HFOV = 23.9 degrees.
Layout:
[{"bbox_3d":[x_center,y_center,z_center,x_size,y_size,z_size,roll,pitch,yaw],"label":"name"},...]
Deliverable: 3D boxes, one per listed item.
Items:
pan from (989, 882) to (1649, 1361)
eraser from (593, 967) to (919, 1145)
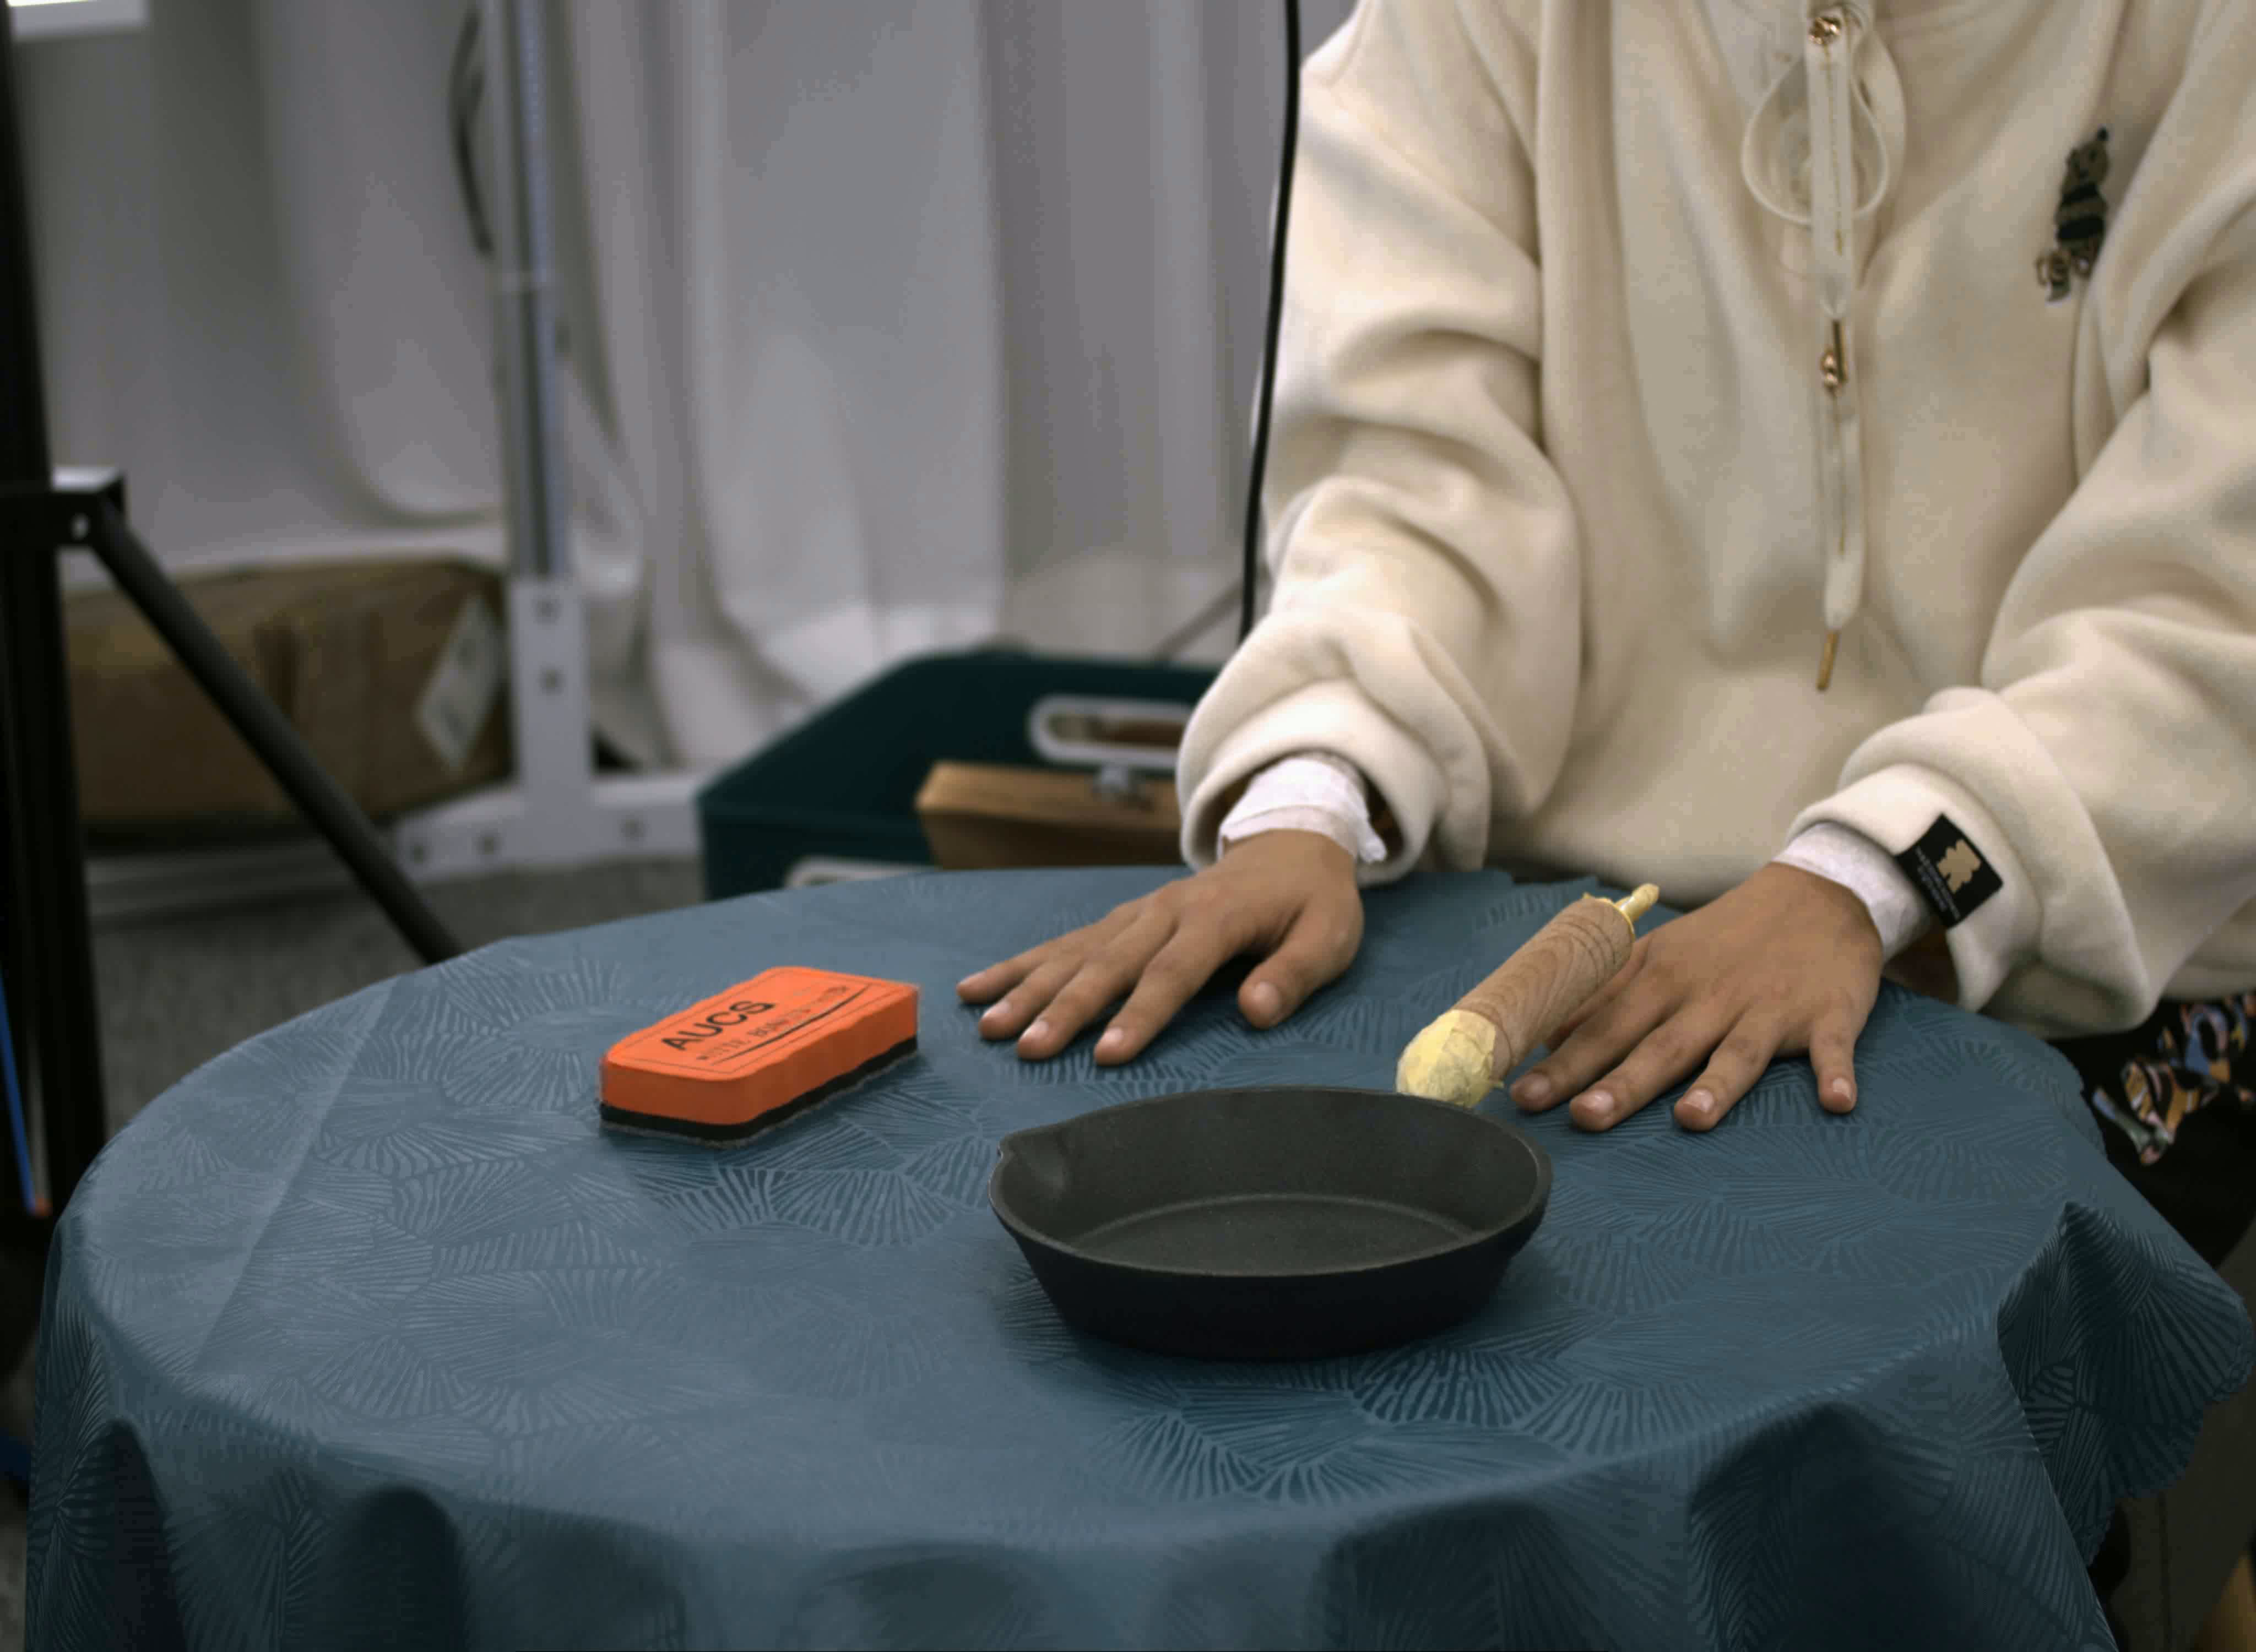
[{"bbox_3d":[0.082,0.082,1.541,0.172,0.049,0.318,6,19,30],"label":"pan"},{"bbox_3d":[-0.115,0.071,1.664,0.060,0.023,0.106,8,19,32],"label":"eraser"}]
